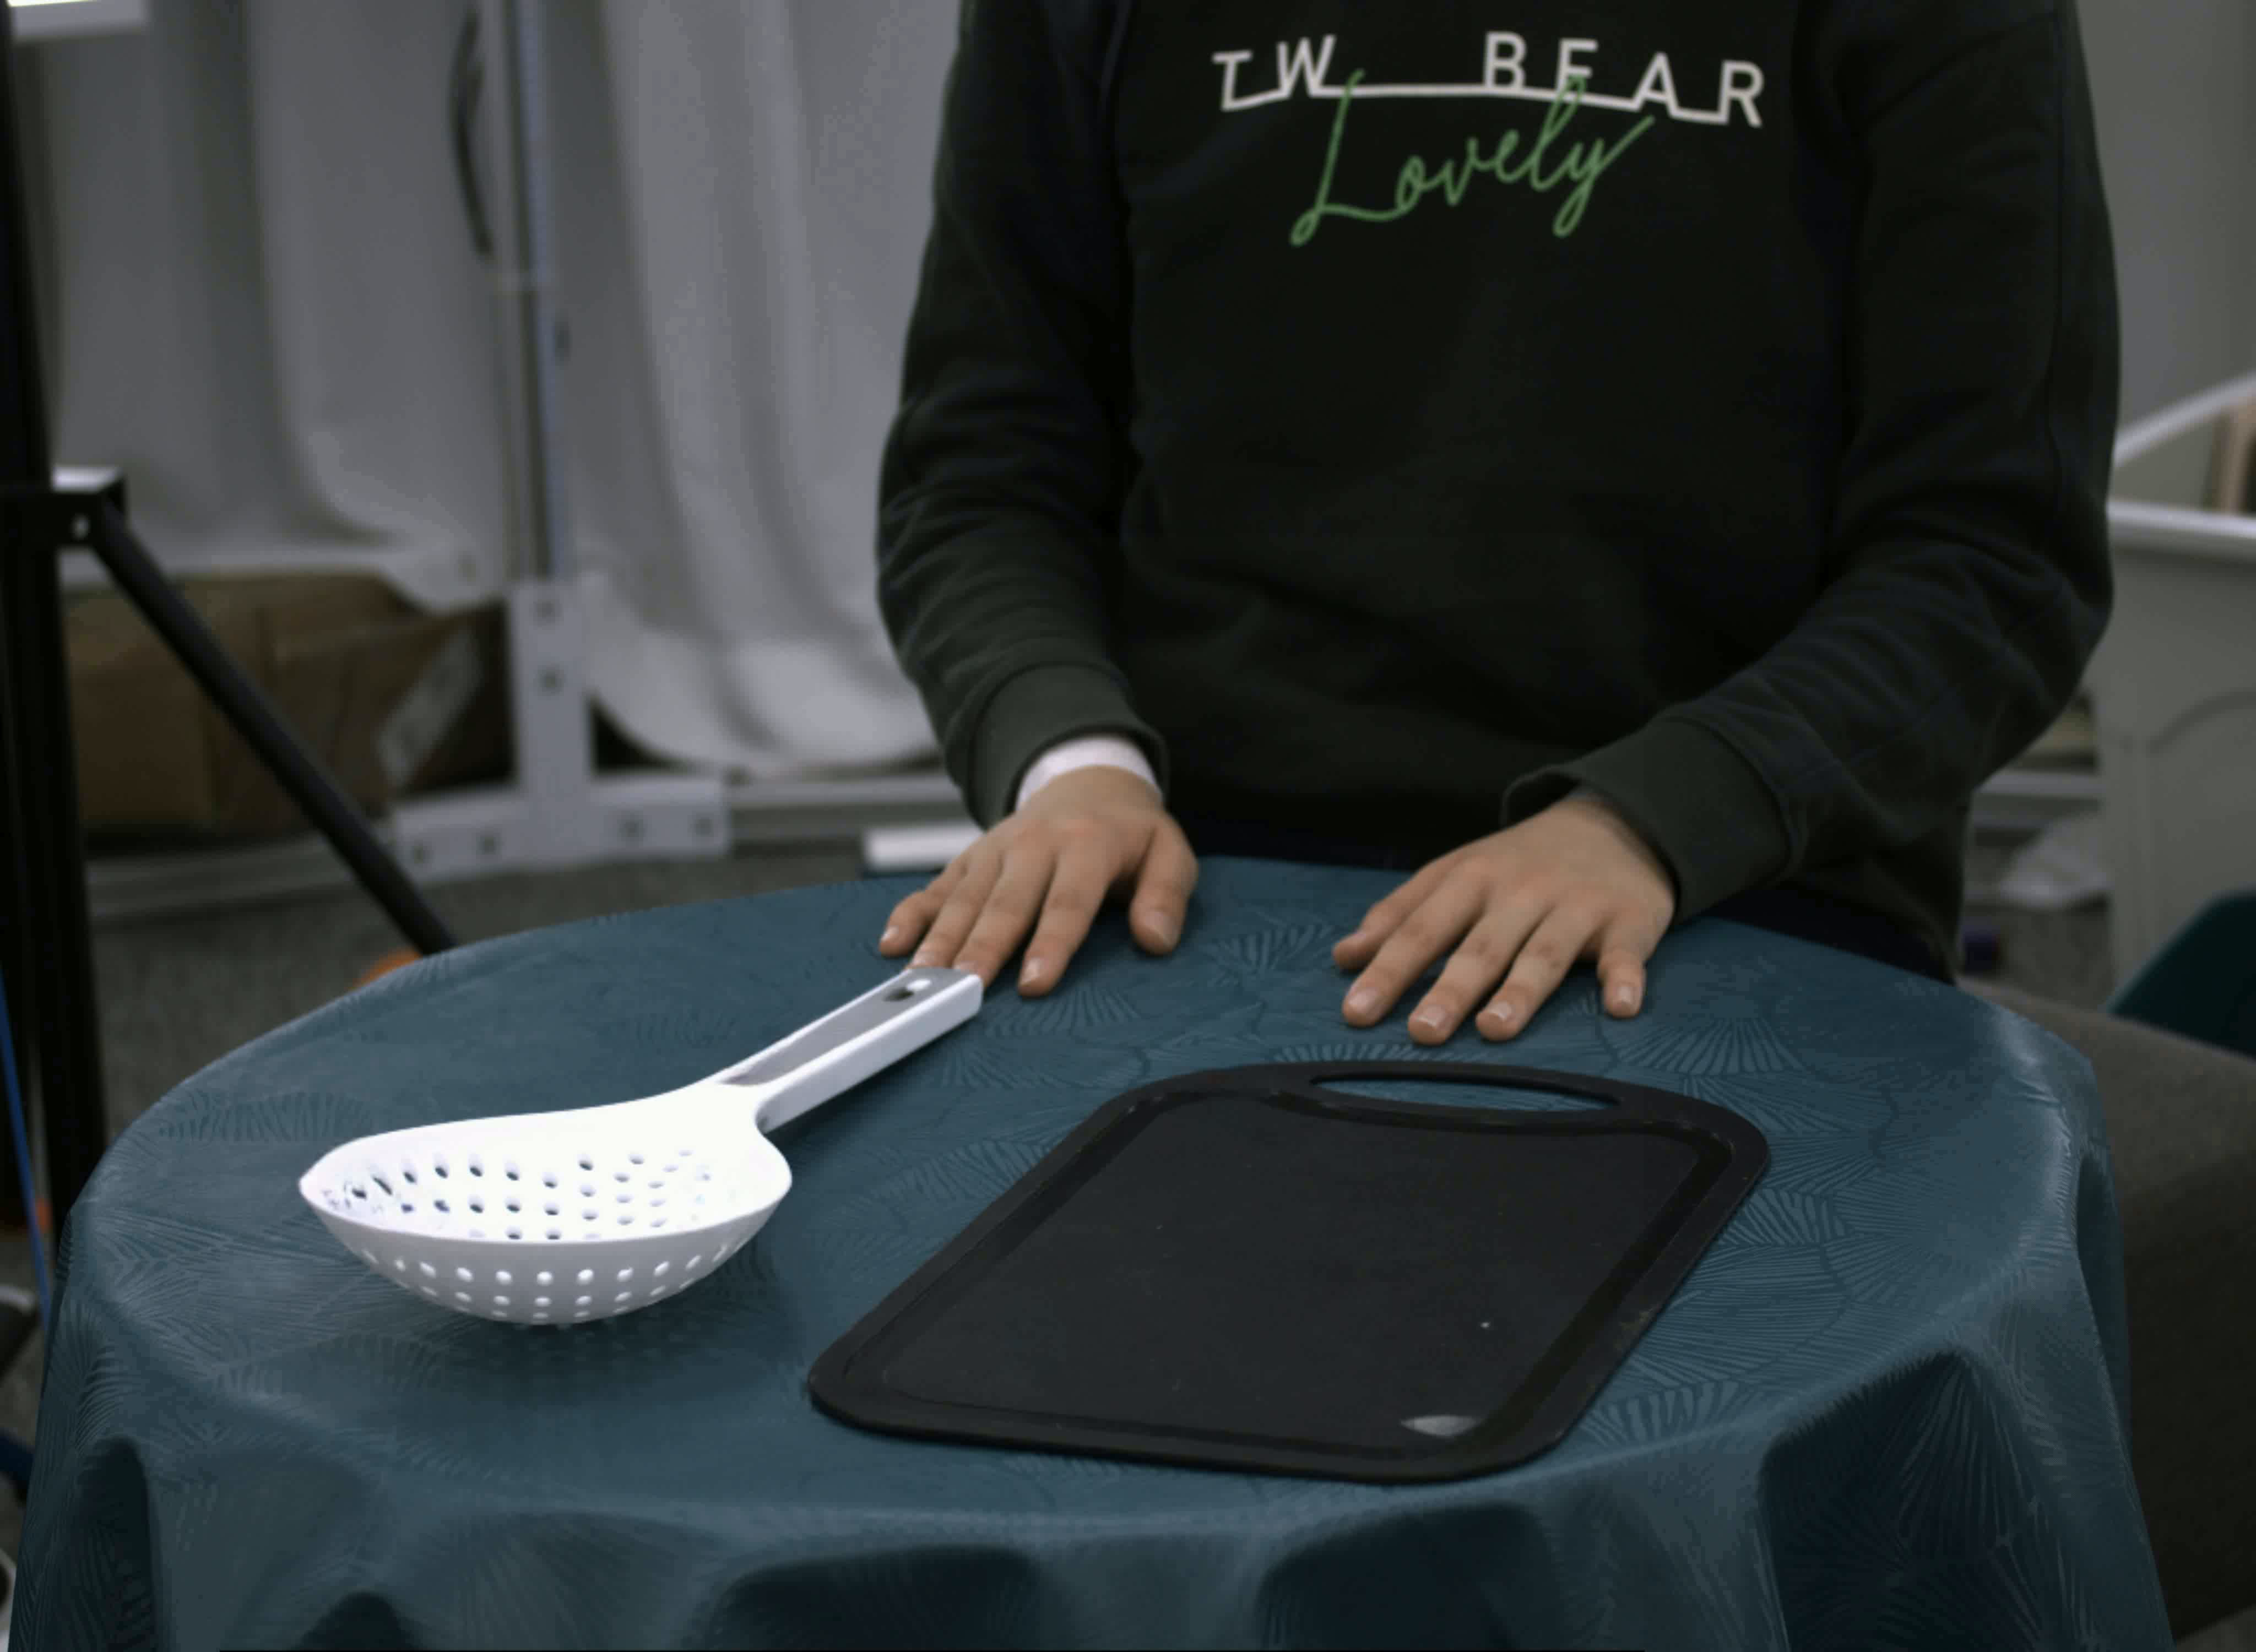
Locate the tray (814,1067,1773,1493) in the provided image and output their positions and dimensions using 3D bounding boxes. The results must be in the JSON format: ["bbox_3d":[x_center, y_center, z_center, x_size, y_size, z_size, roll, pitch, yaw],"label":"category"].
[{"bbox_3d":[0.056,0.118,1.499,0.214,0.010,0.321,4,17,21],"label":"tray"}]

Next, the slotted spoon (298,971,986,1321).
[{"bbox_3d":[-0.122,0.085,1.576,0.138,0.046,0.345,6,17,21],"label":"slotted spoon"}]
